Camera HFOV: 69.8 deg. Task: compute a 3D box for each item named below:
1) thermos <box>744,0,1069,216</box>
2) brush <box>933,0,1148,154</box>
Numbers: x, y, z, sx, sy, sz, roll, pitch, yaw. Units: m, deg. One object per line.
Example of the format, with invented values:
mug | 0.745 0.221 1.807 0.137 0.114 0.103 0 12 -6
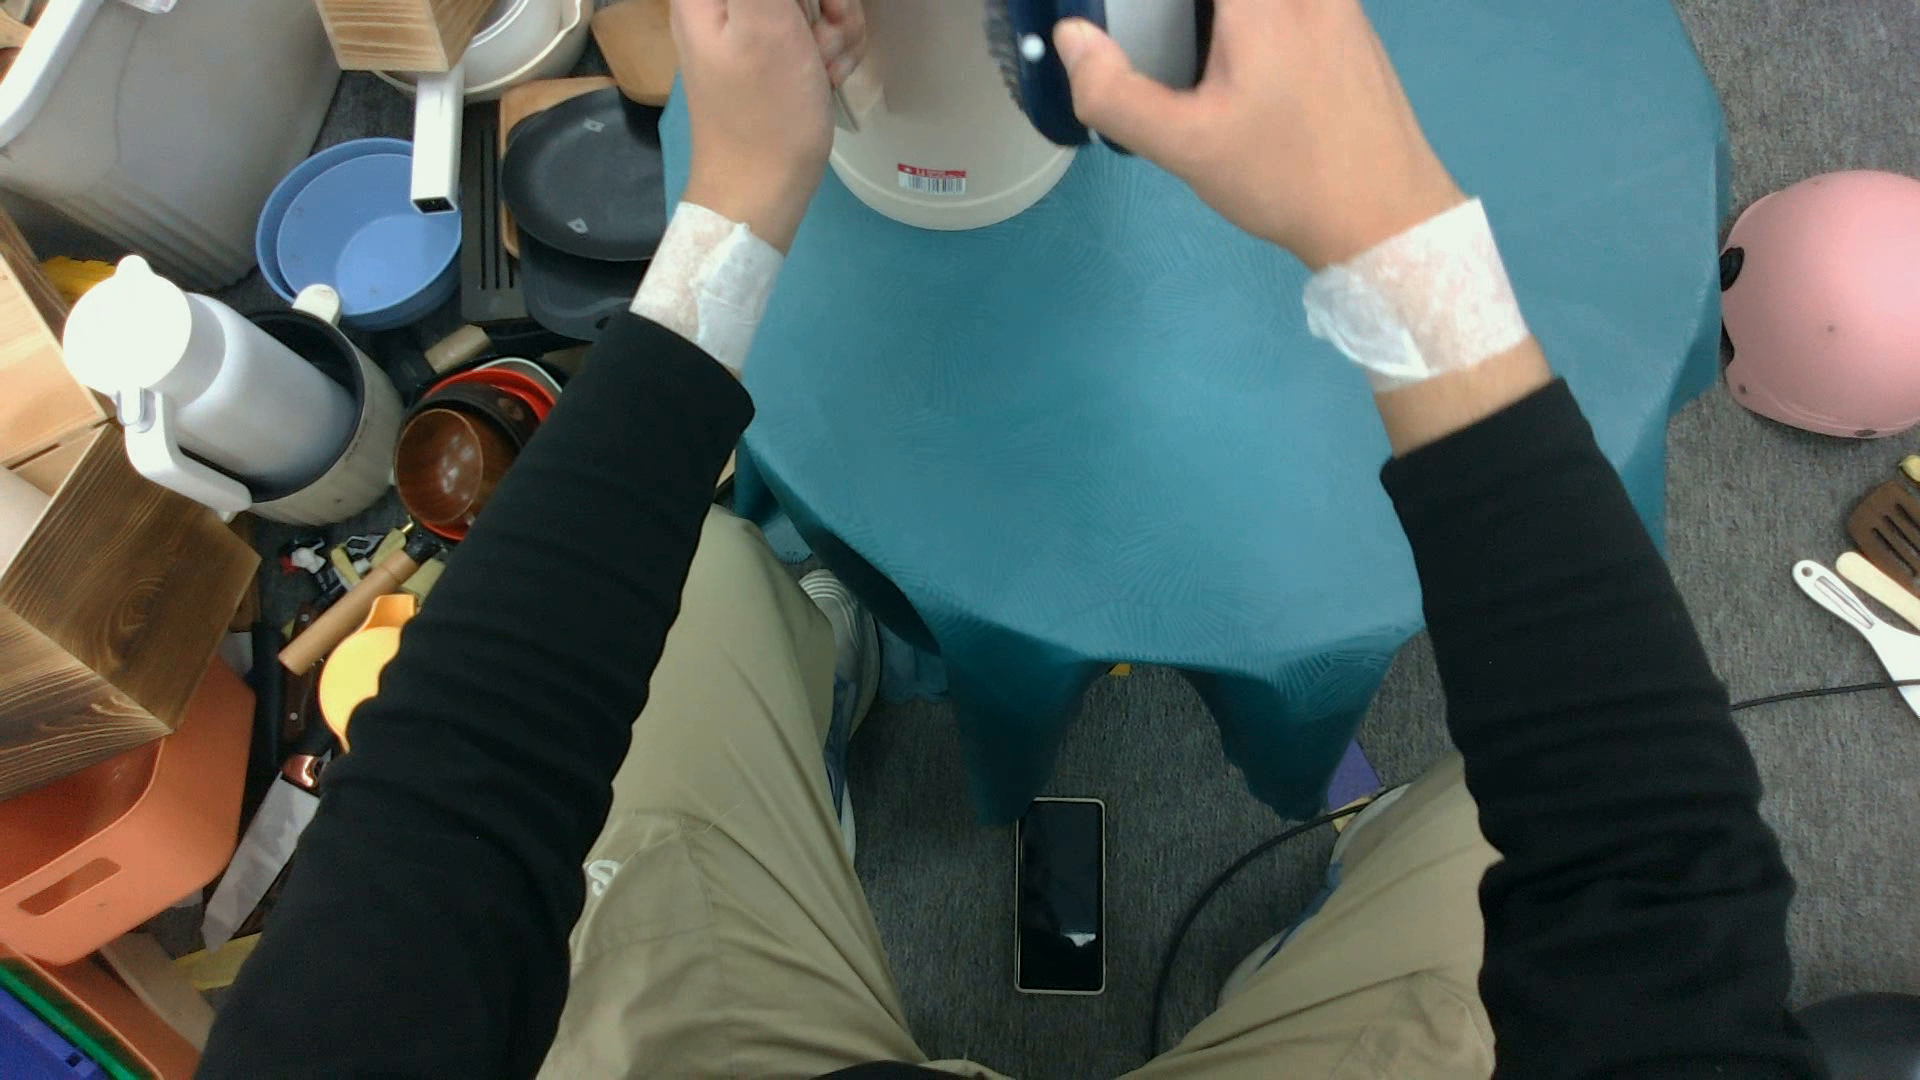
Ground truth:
thermos | -0.030 -0.290 0.604 0.175 0.405 0.207 27 79 5
brush | 0.027 -0.197 0.478 0.068 0.121 0.061 -21 47 -32
